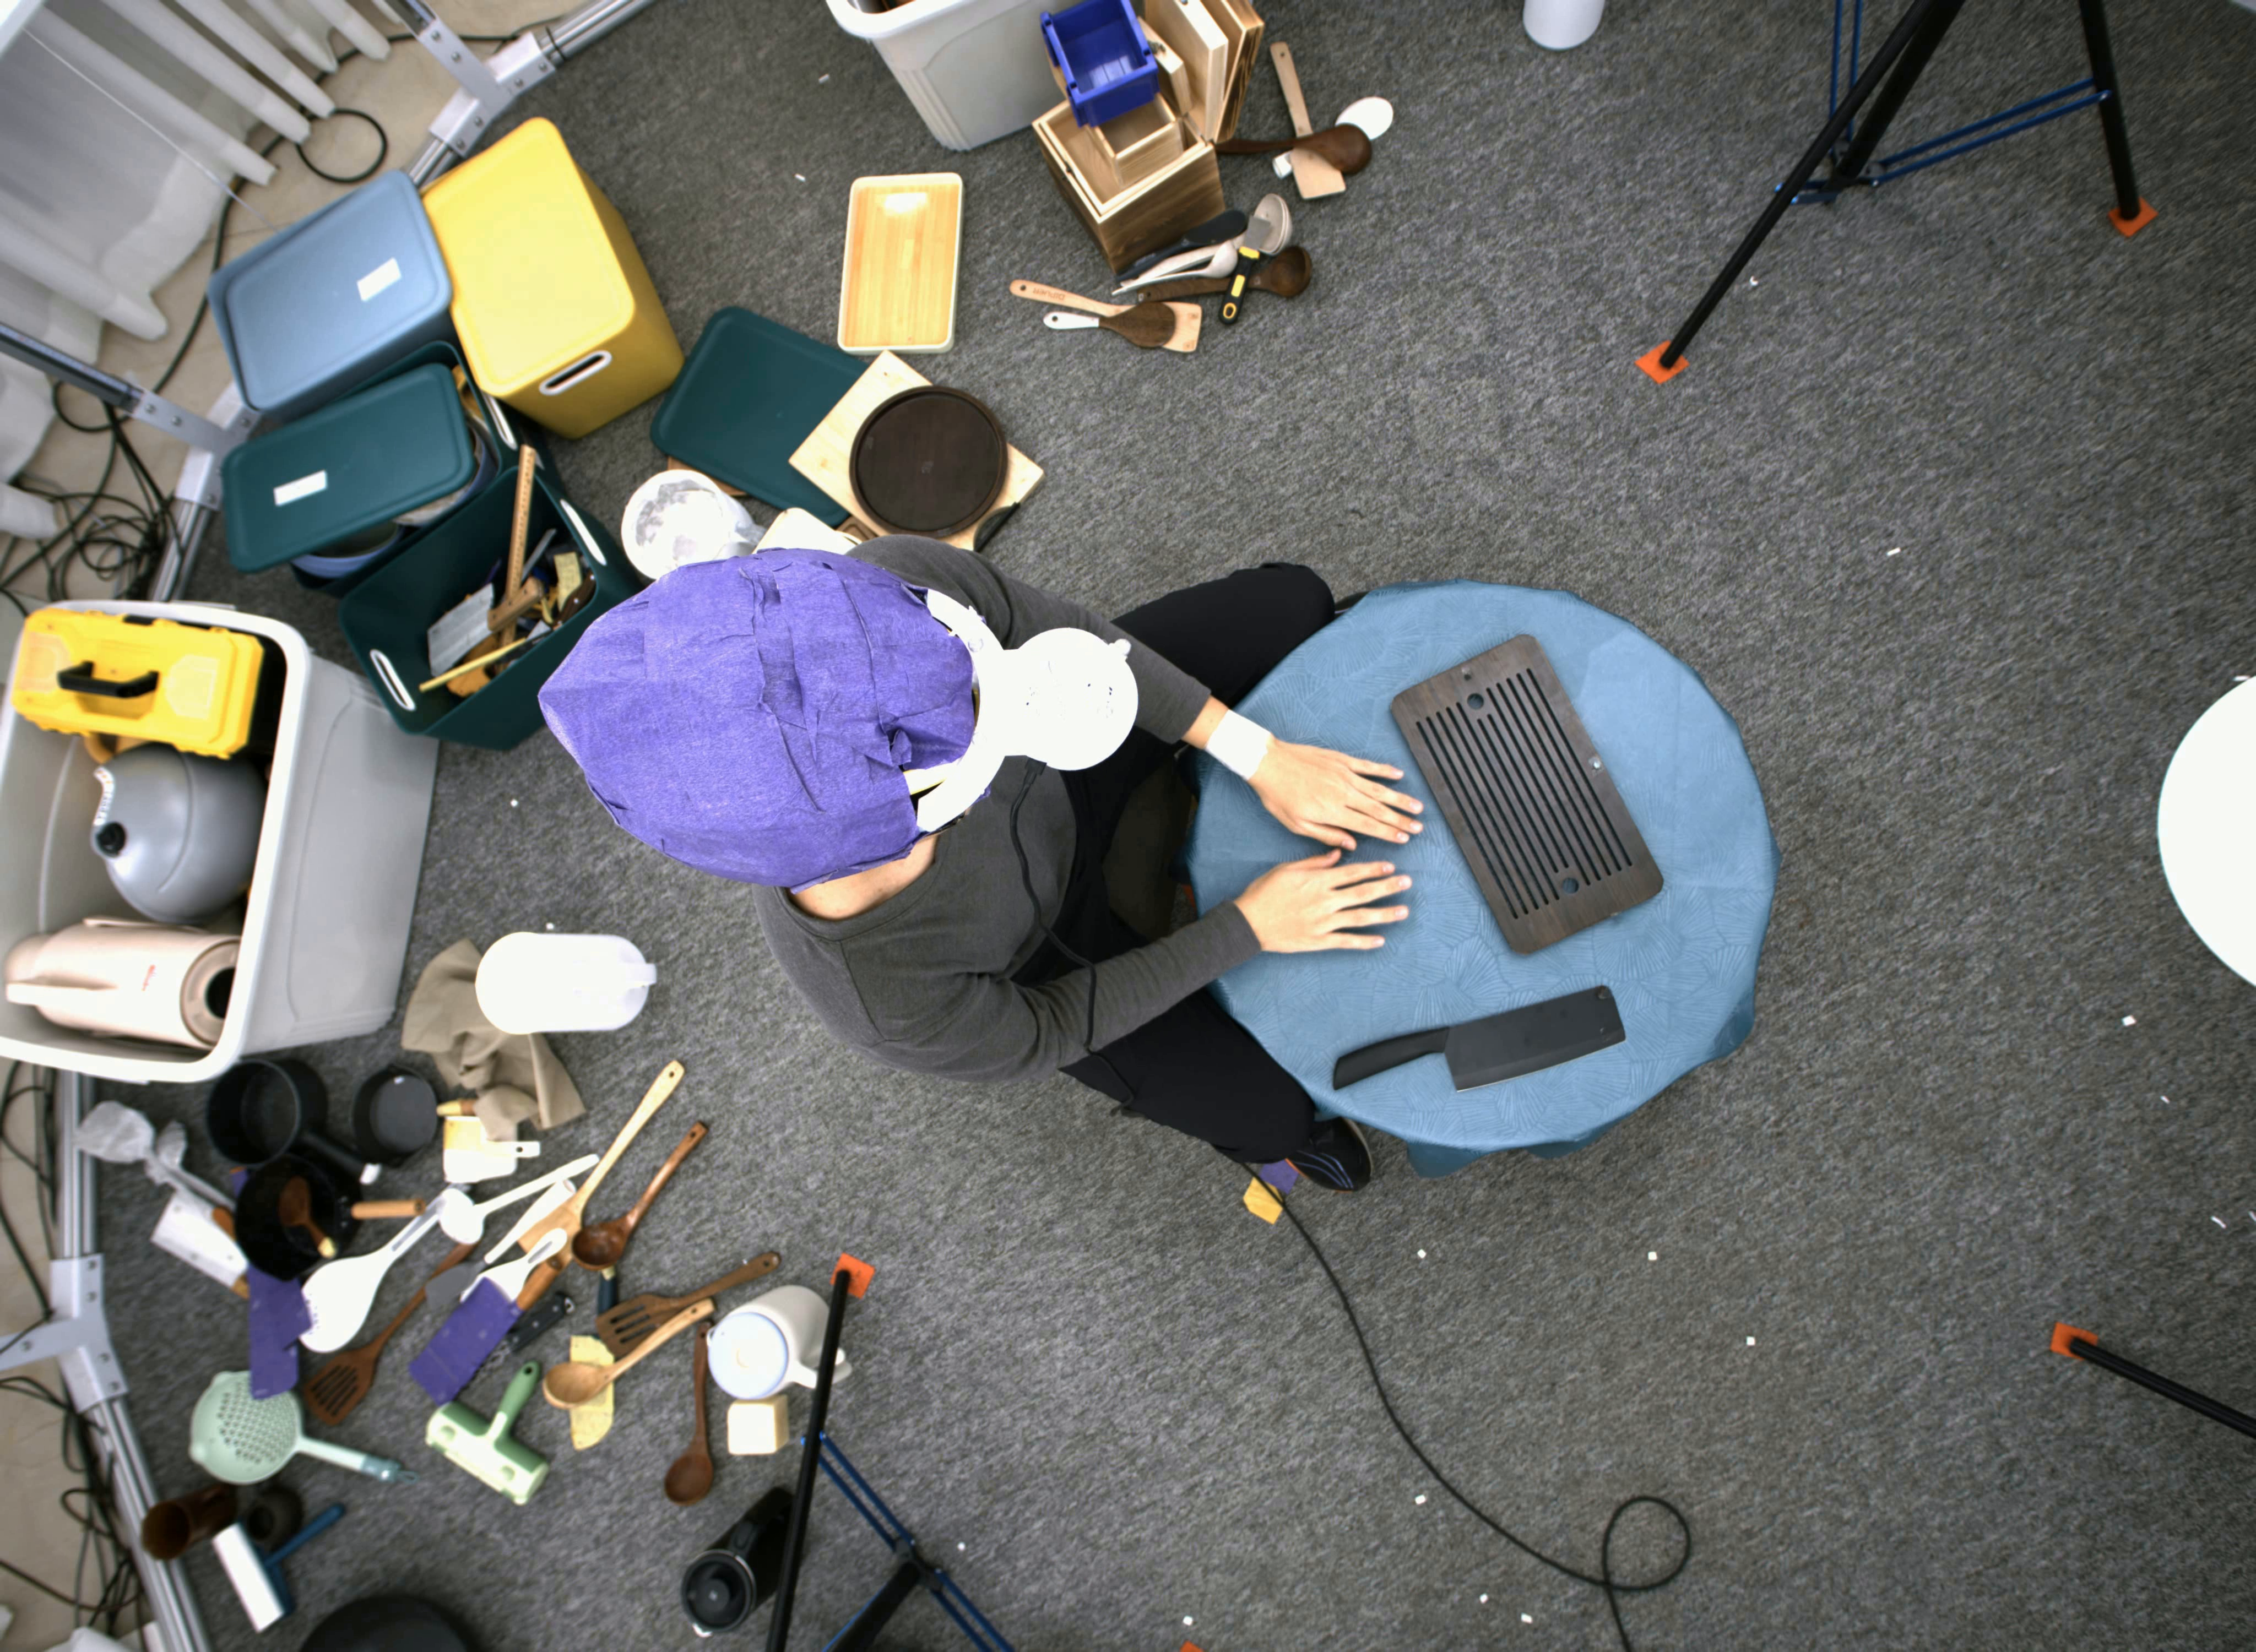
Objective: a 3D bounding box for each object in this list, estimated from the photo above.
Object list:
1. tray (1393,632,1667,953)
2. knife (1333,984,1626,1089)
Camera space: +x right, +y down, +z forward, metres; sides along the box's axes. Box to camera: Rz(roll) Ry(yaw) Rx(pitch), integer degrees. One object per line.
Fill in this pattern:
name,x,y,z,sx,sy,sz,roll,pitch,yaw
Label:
tray,0.416,-0.038,1.429,0.171,0.018,0.304,-26,82,9
knife,0.360,0.228,1.428,0.304,0.021,0.080,-12,86,8
